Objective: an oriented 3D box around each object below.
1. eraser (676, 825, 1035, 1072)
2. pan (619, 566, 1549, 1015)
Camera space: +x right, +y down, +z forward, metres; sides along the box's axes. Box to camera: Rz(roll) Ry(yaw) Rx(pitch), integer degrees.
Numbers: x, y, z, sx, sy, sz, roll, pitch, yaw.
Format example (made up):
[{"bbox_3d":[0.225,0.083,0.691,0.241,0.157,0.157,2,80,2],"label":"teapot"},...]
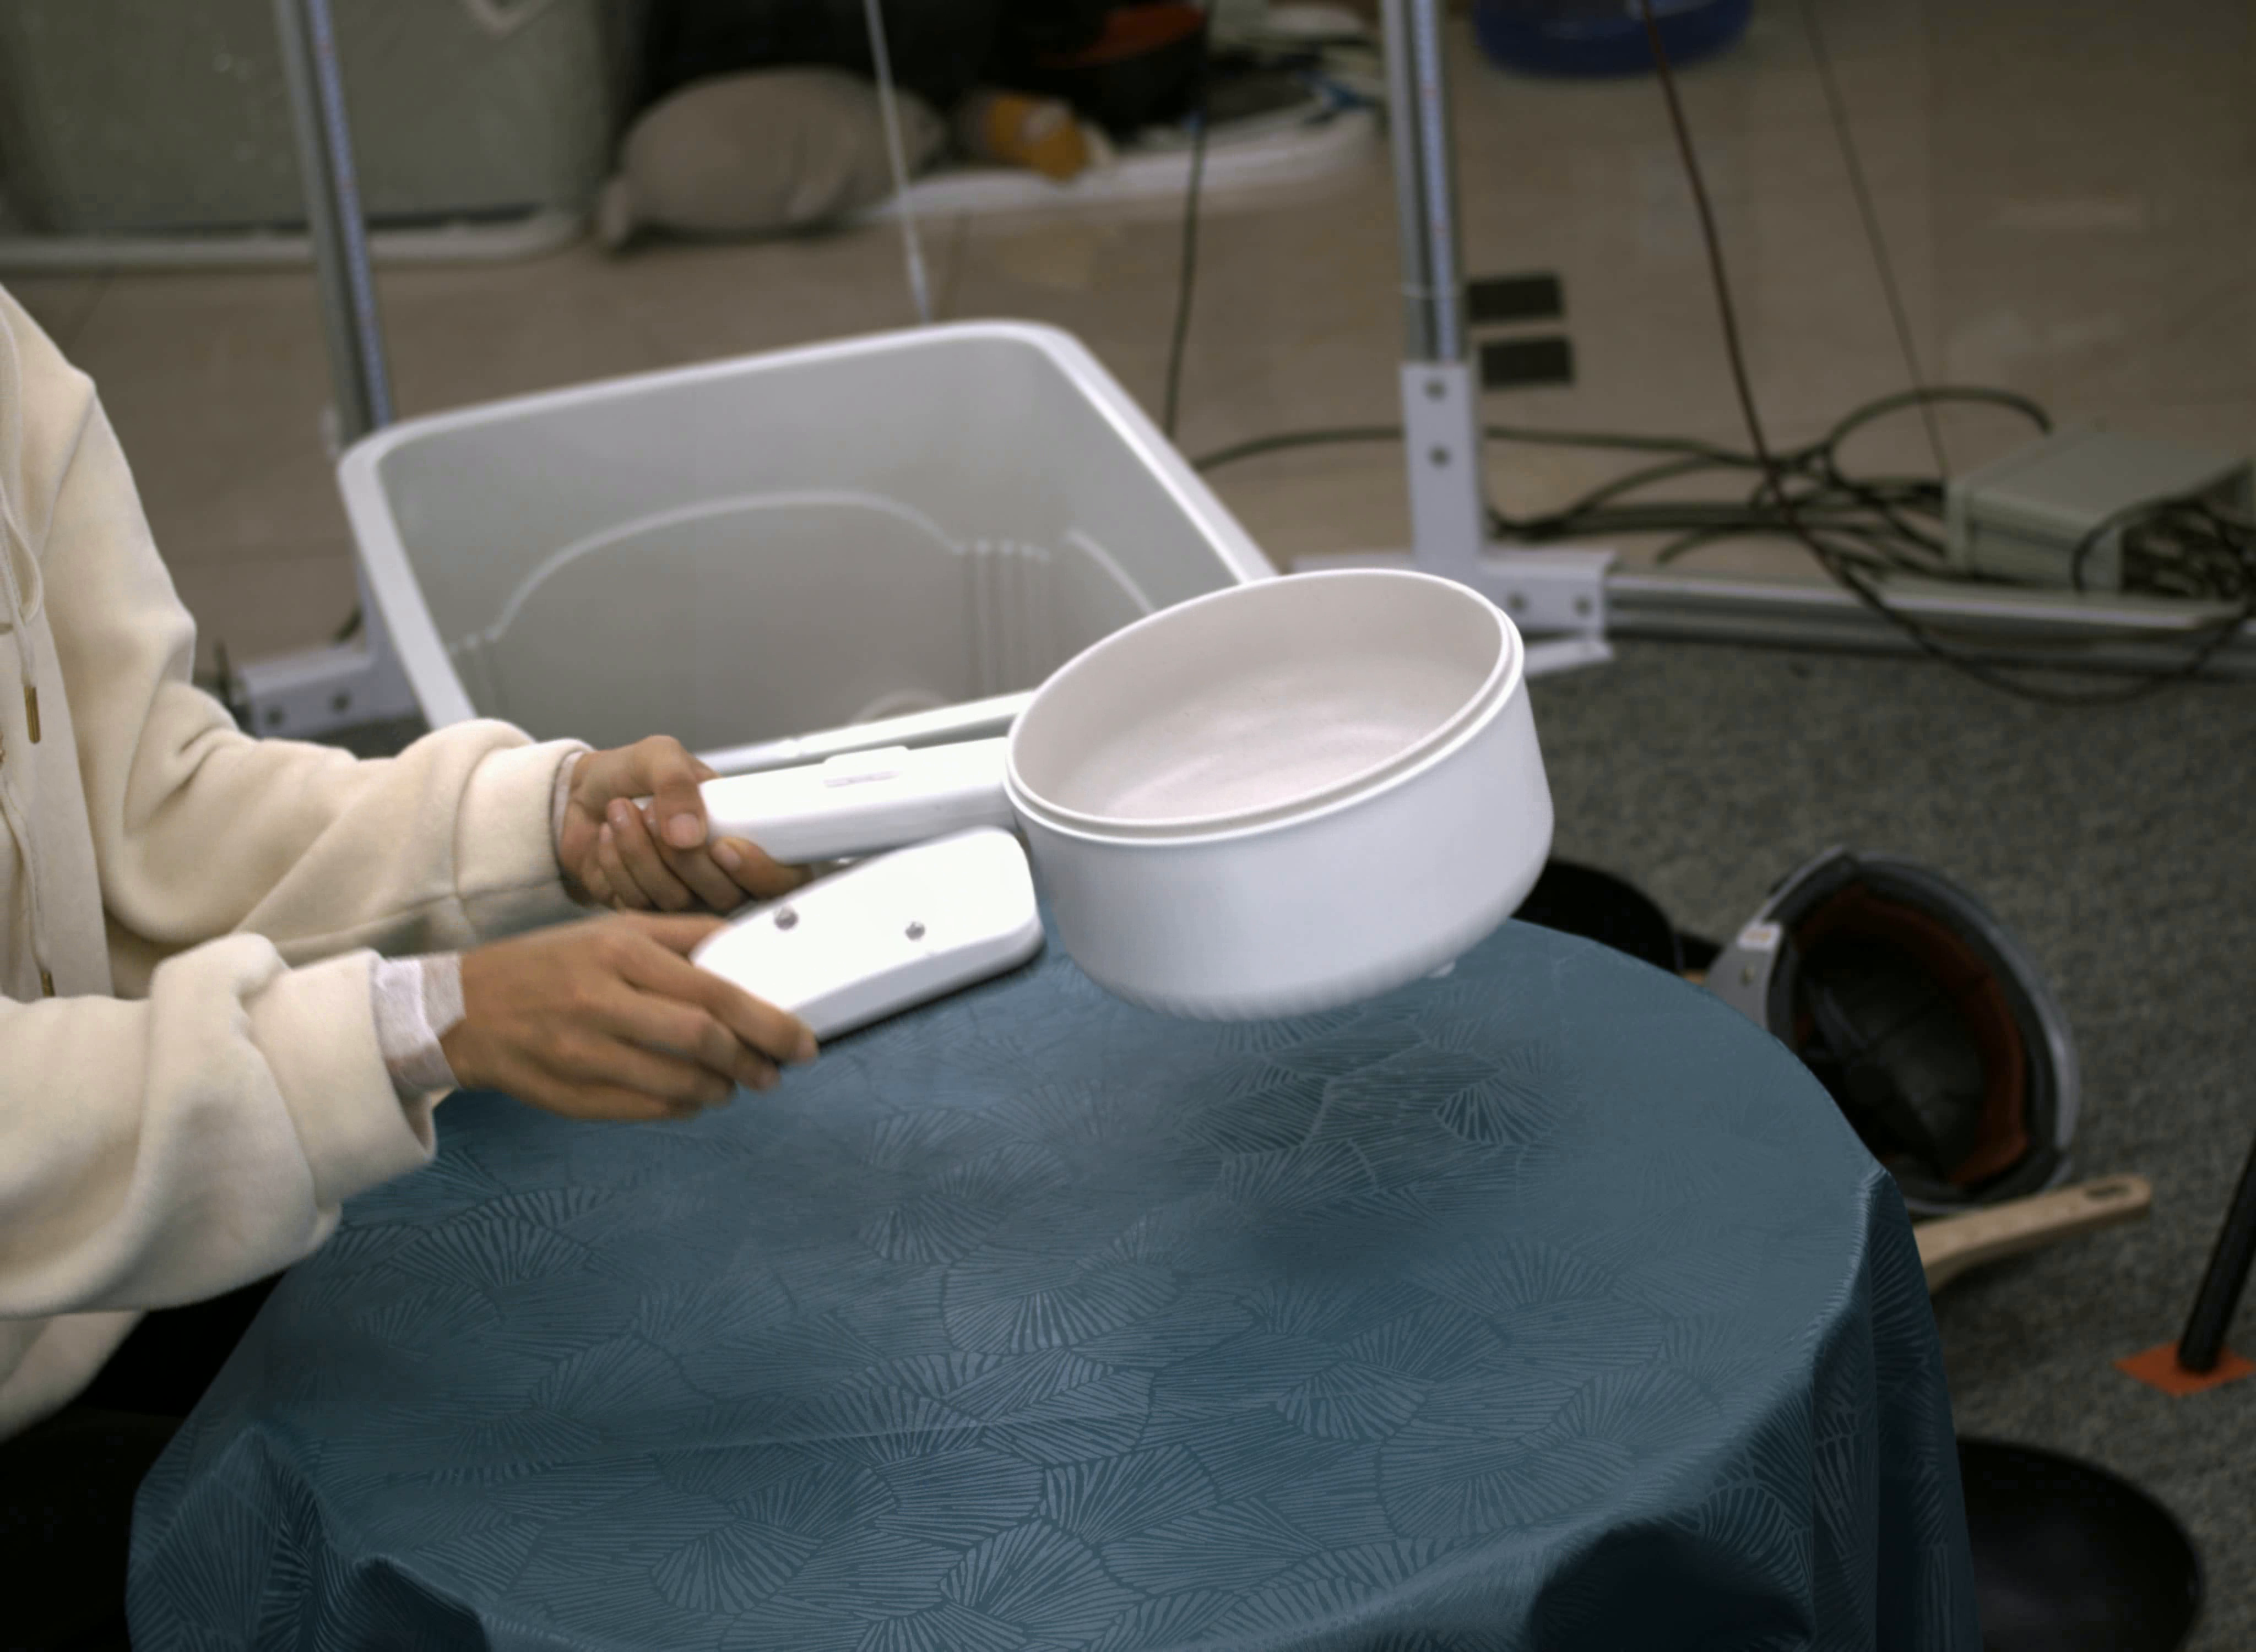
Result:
[{"bbox_3d":[-0.098,0.041,2.020,0.131,0.035,0.062,-22,34,6],"label":"eraser"},{"bbox_3d":[-0.014,0.005,2.154,0.355,0.103,0.198,-11,26,15],"label":"pan"}]
